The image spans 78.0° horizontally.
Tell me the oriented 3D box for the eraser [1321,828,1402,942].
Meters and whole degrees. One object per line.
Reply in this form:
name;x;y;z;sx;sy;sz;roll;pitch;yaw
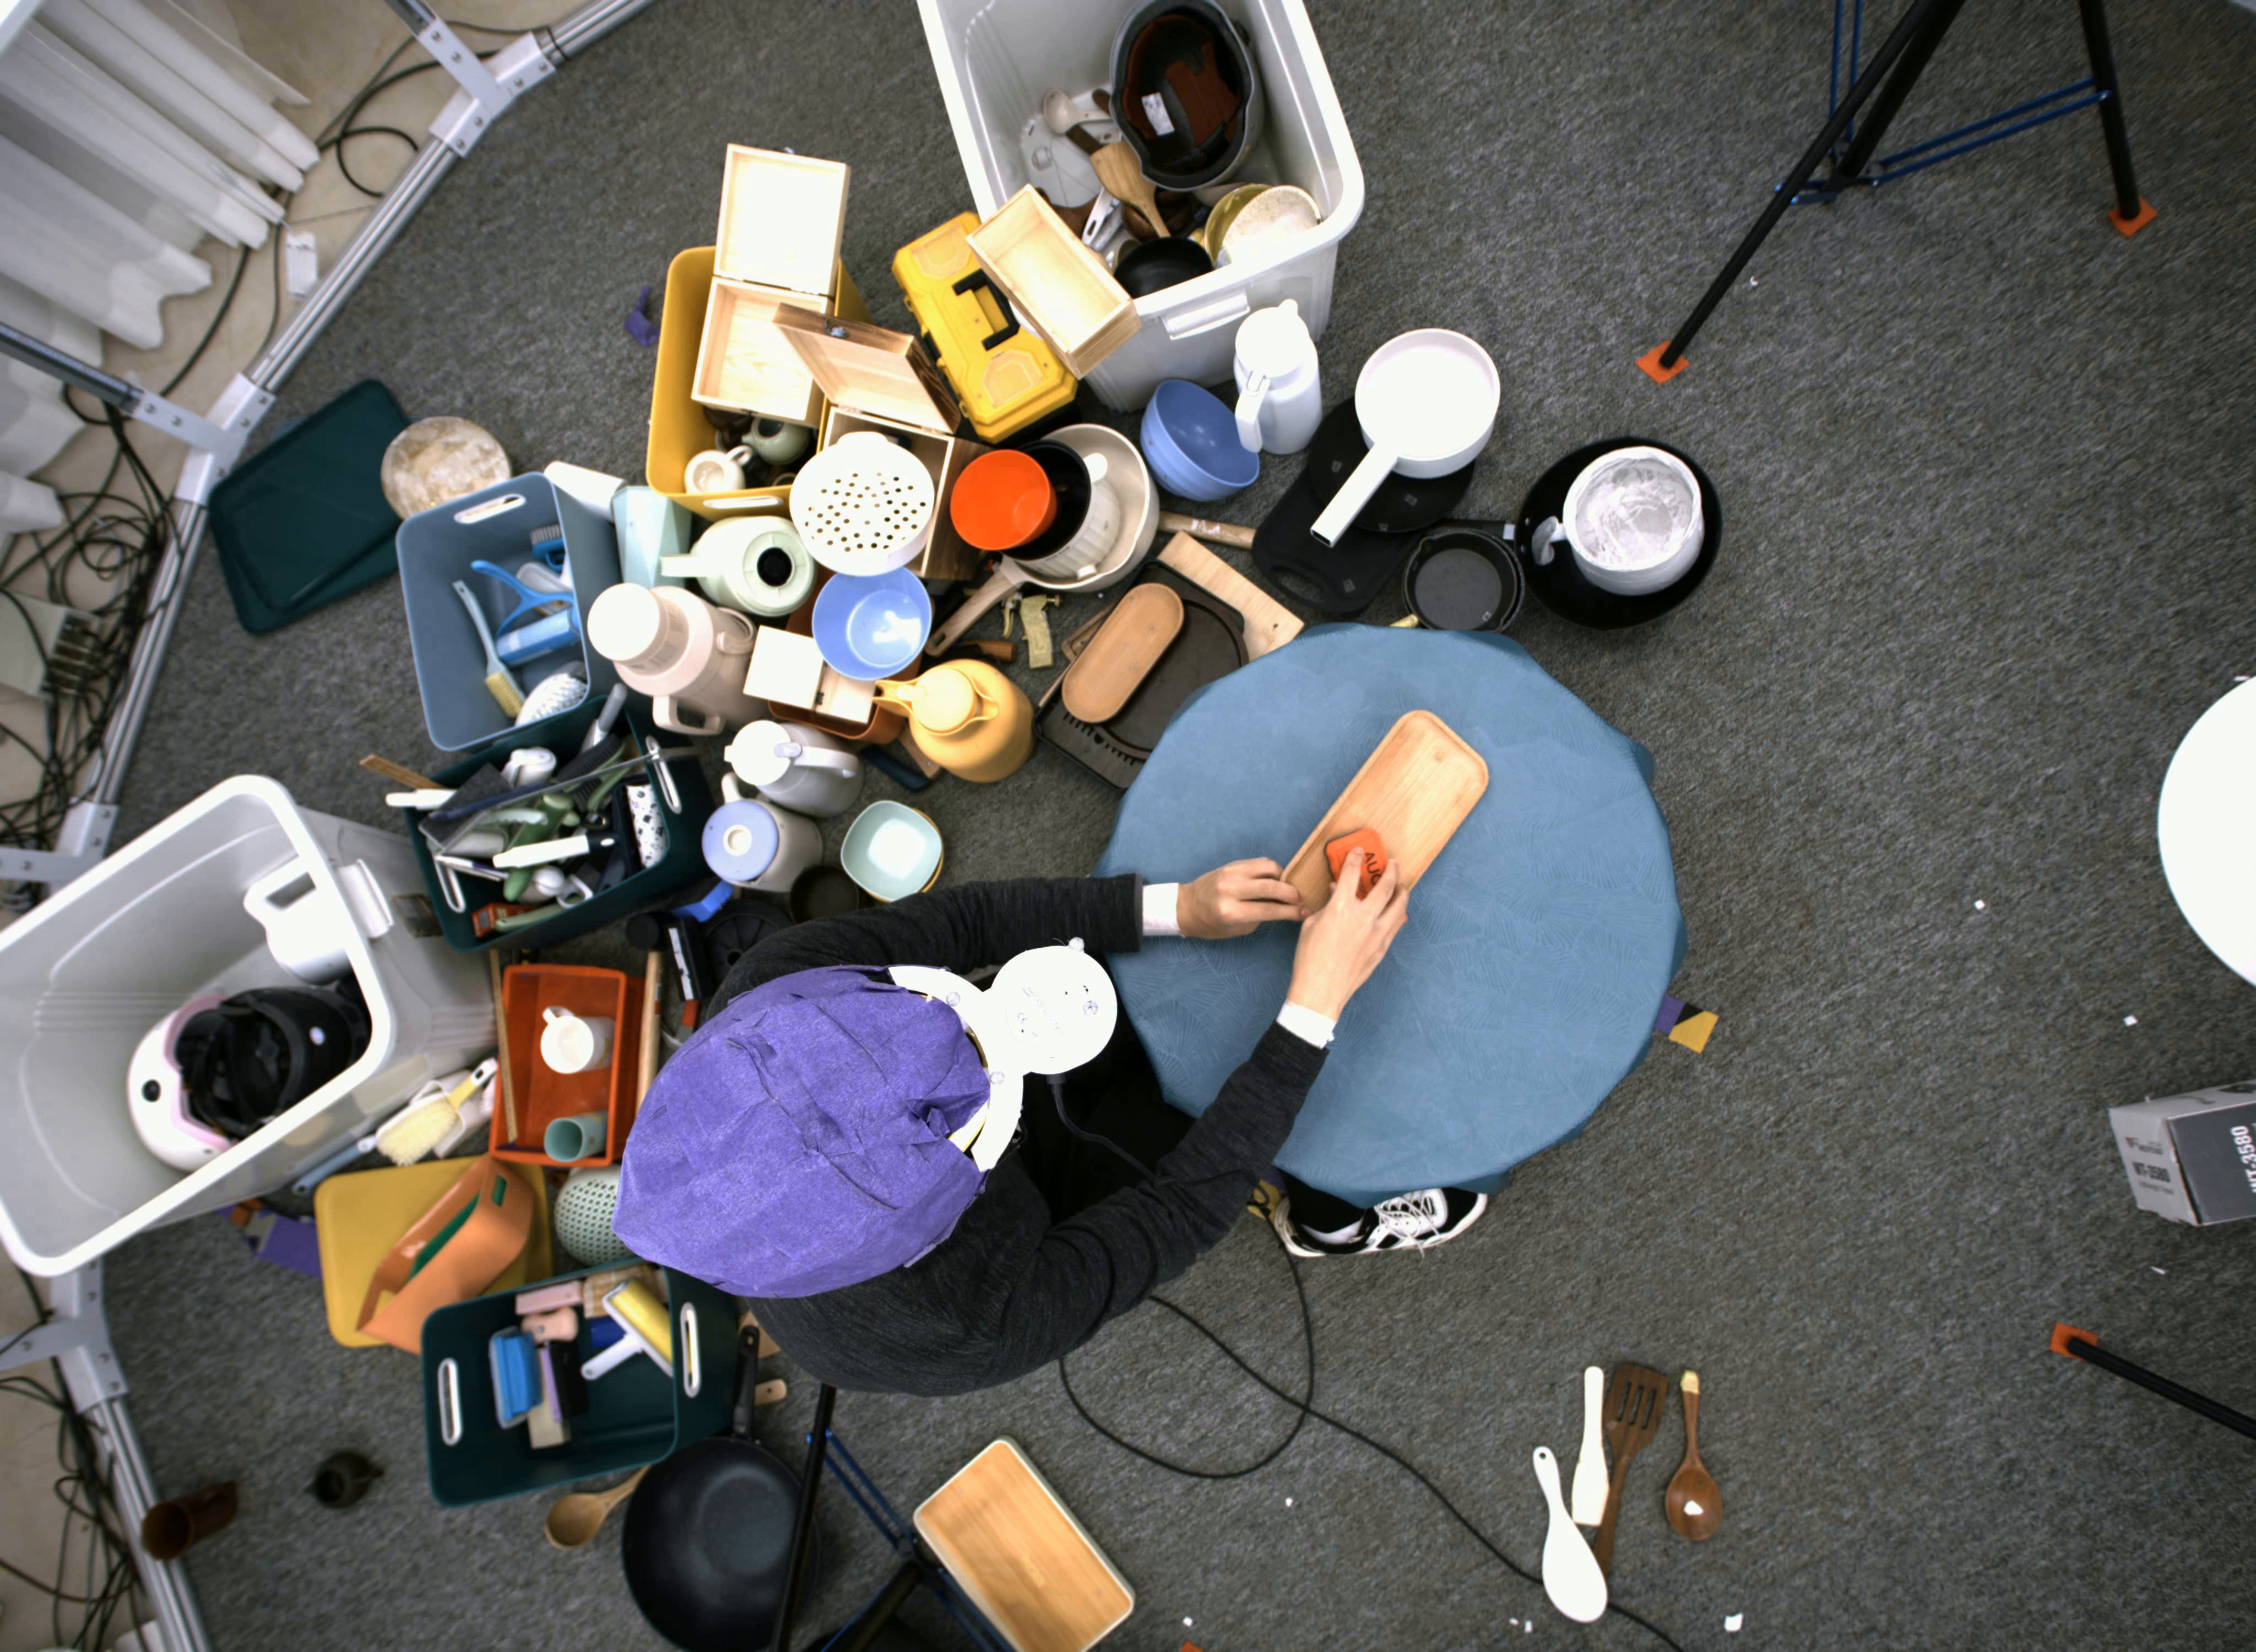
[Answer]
eraser;0.240;0.059;1.414;0.059;0.023;0.109;-20;103;-6

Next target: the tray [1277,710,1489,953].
tray;0.264;0.005;1.423;0.131;0.023;0.251;38;91;-17
